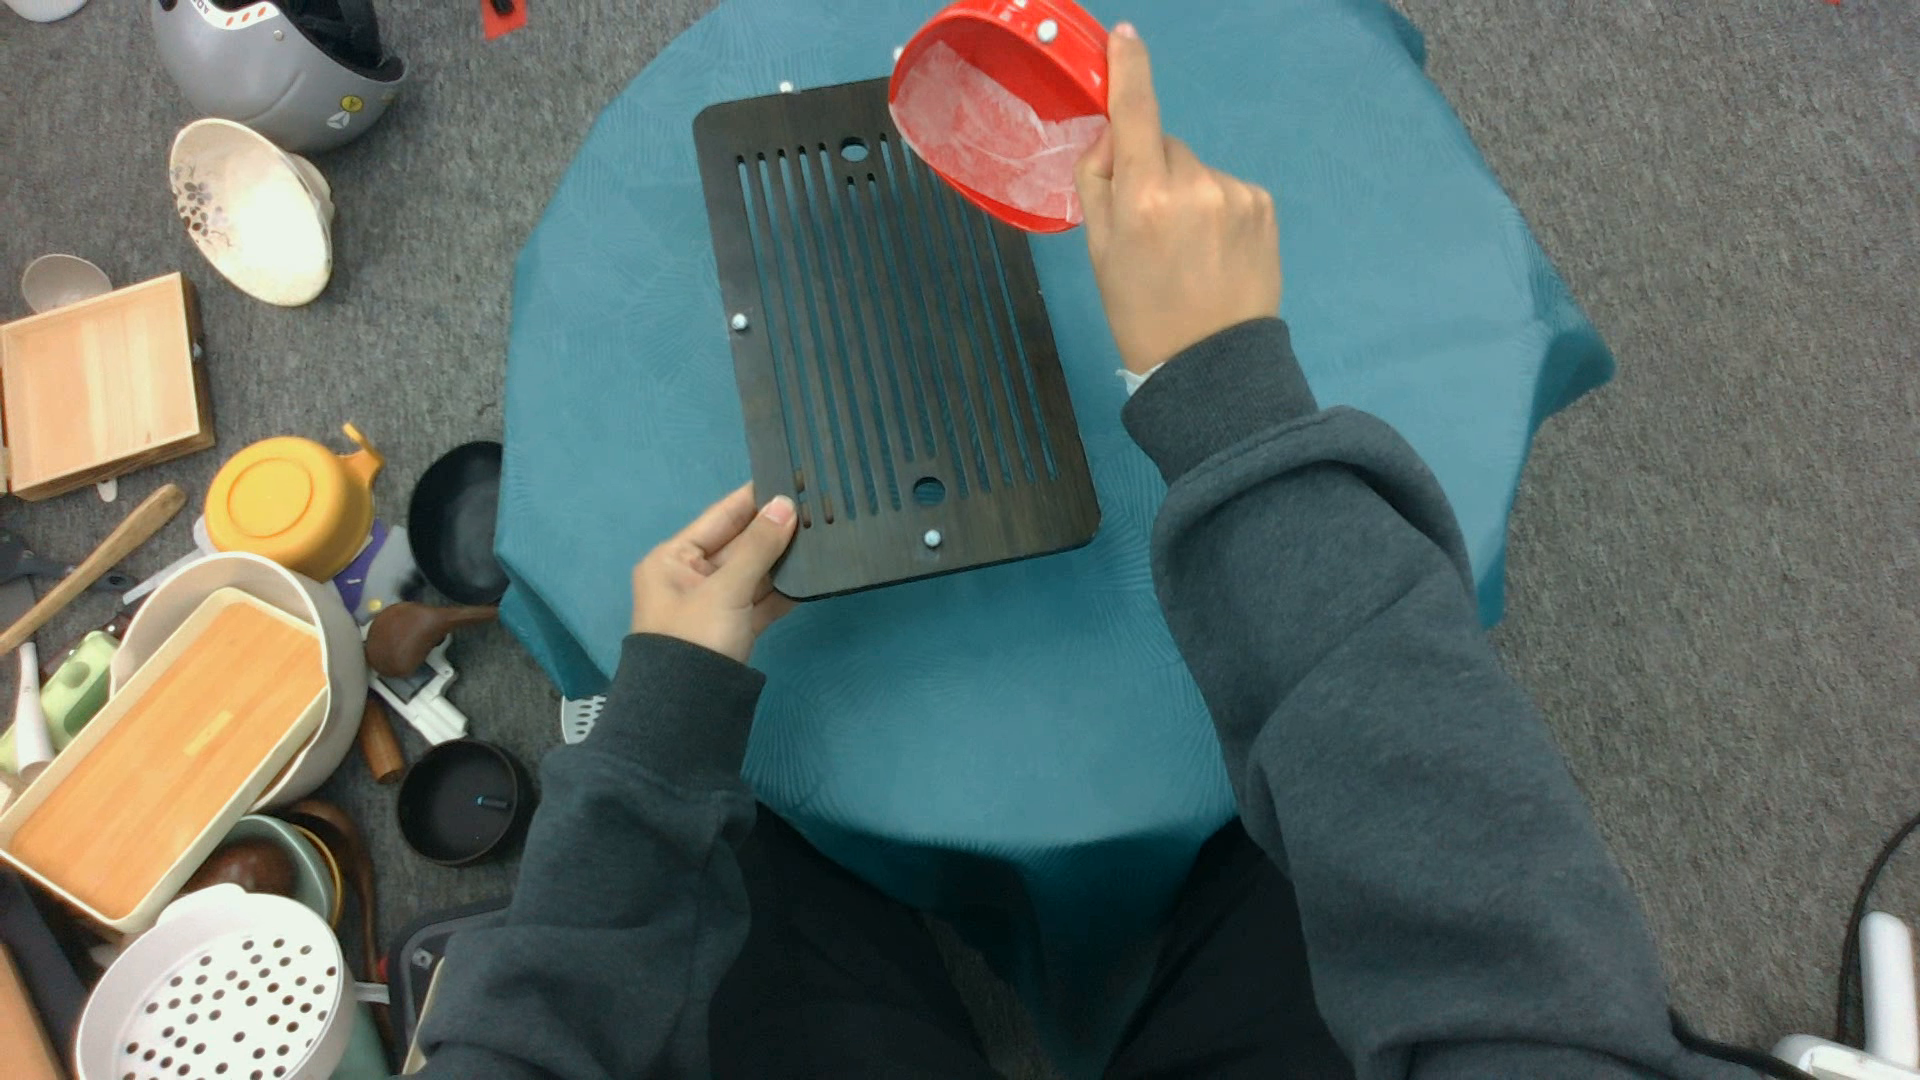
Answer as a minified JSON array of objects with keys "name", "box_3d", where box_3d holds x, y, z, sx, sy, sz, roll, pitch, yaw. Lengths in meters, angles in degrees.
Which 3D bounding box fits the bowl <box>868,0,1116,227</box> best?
[{"name":"bowl","box_3d":[0.021,-0.200,0.613,0.119,0.118,0.051,24,64,12]}]

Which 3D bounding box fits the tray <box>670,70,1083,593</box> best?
[{"name":"tray","box_3d":[-0.051,-0.124,0.739,0.170,0.018,0.307,-11,68,-6]}]
